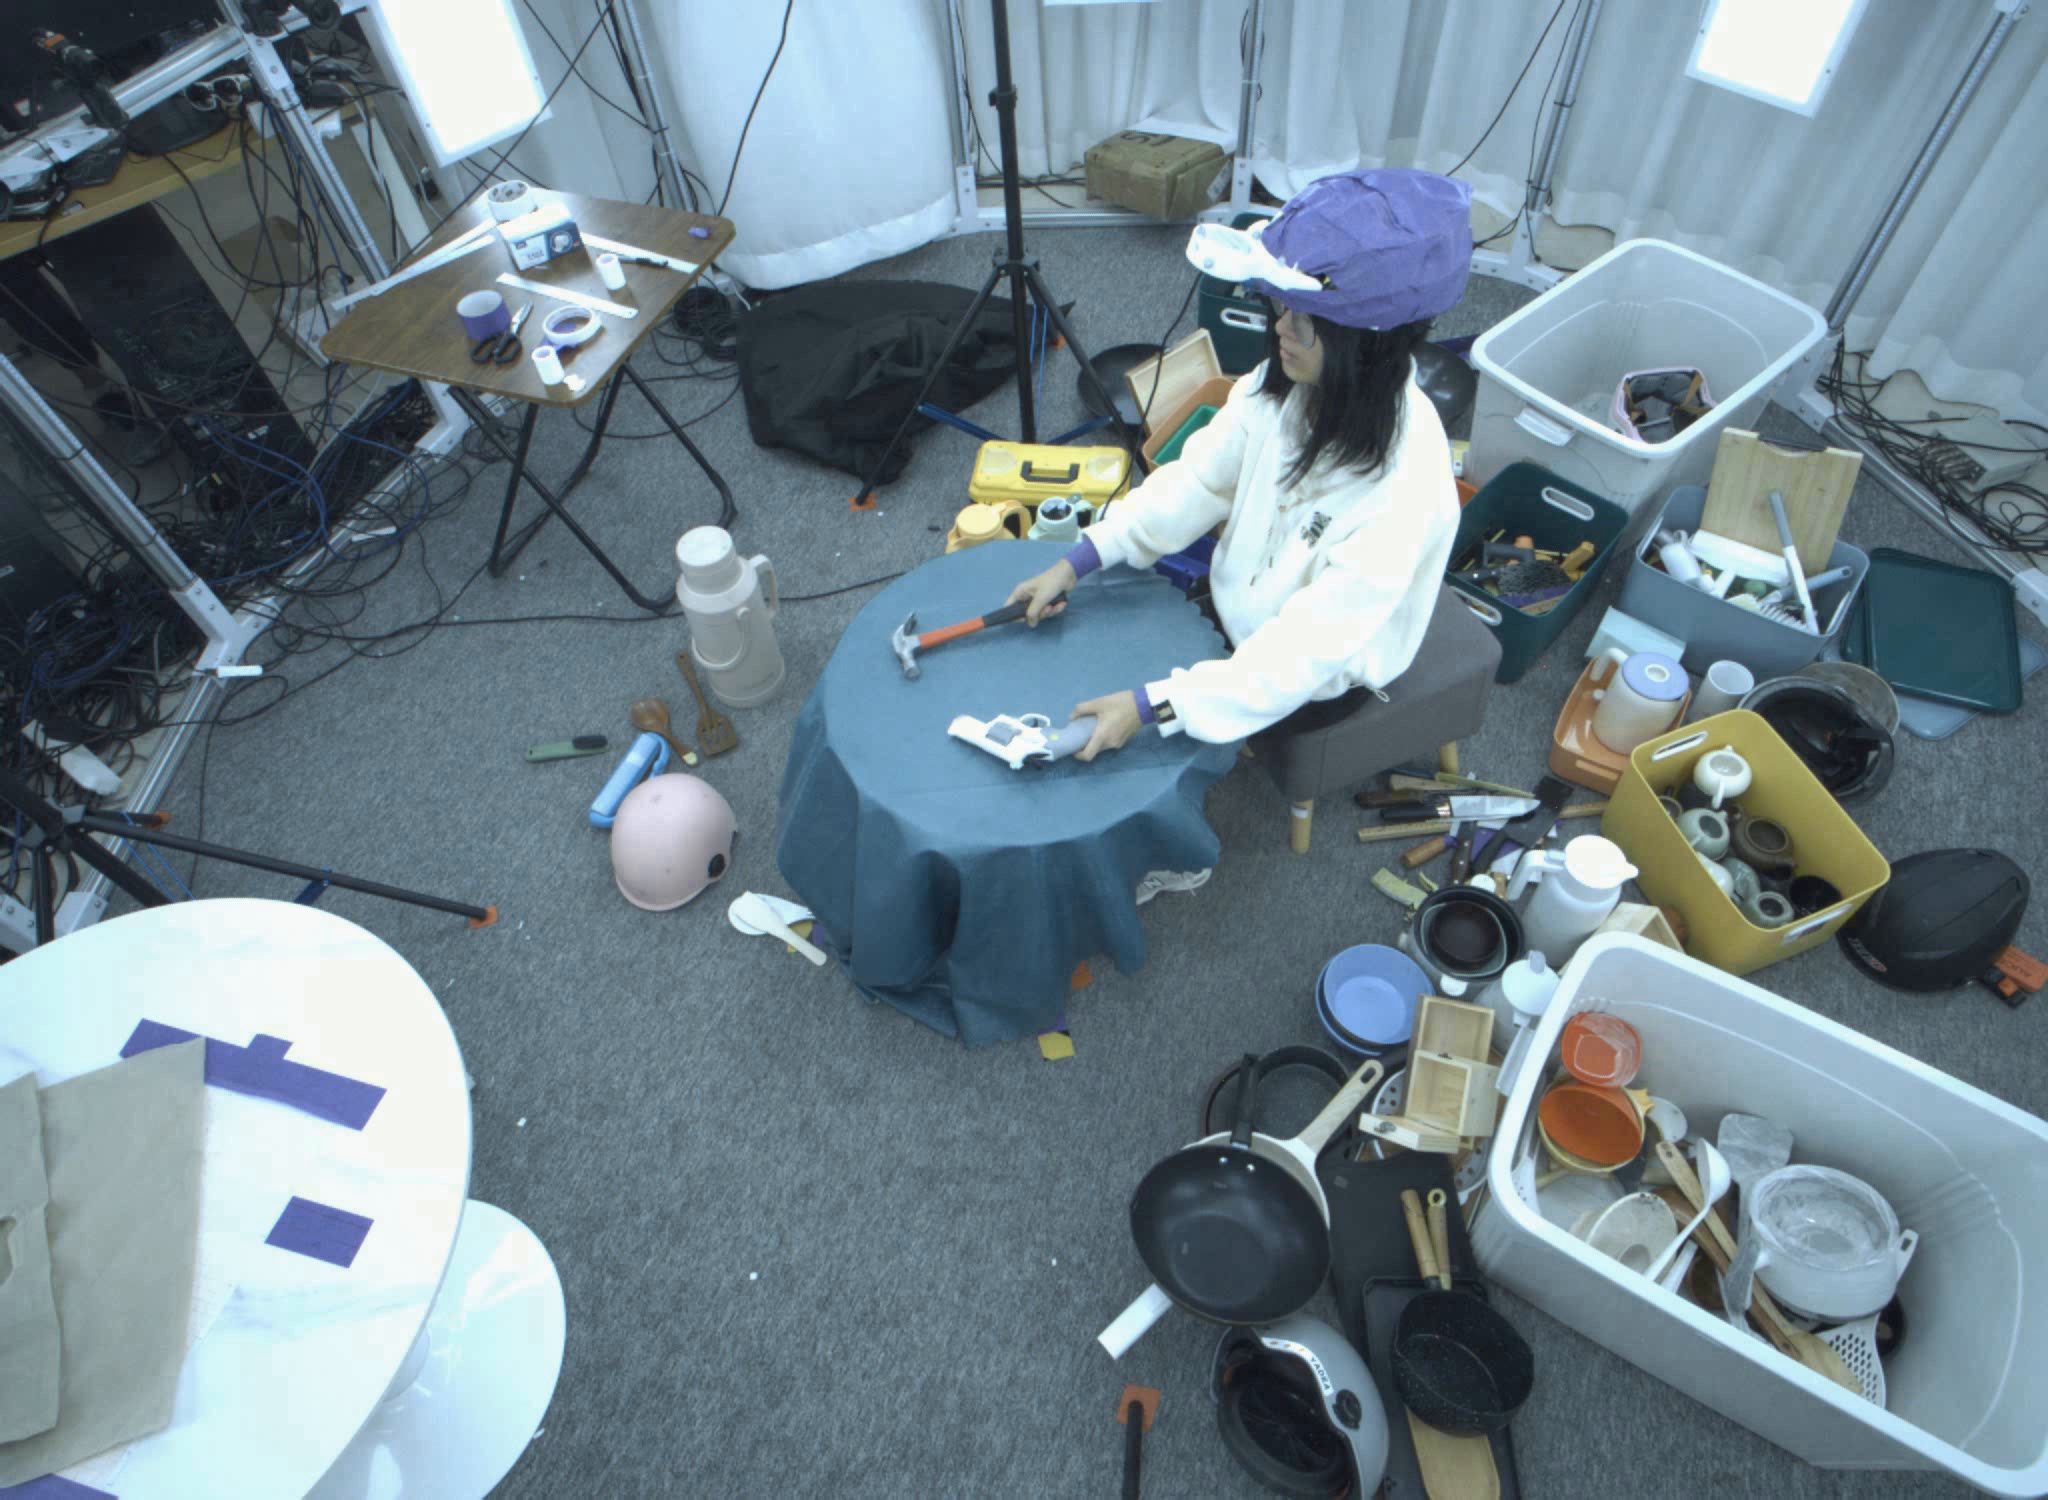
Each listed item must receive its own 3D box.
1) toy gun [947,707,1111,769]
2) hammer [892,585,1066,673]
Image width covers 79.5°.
[{"bbox_3d":[0.007,-0.032,1.779,0.205,0.039,0.142,24,54,30],"label":"toy gun"},{"bbox_3d":[-0.070,-0.202,1.899,0.278,0.027,0.109,-18,46,-4],"label":"hammer"}]
